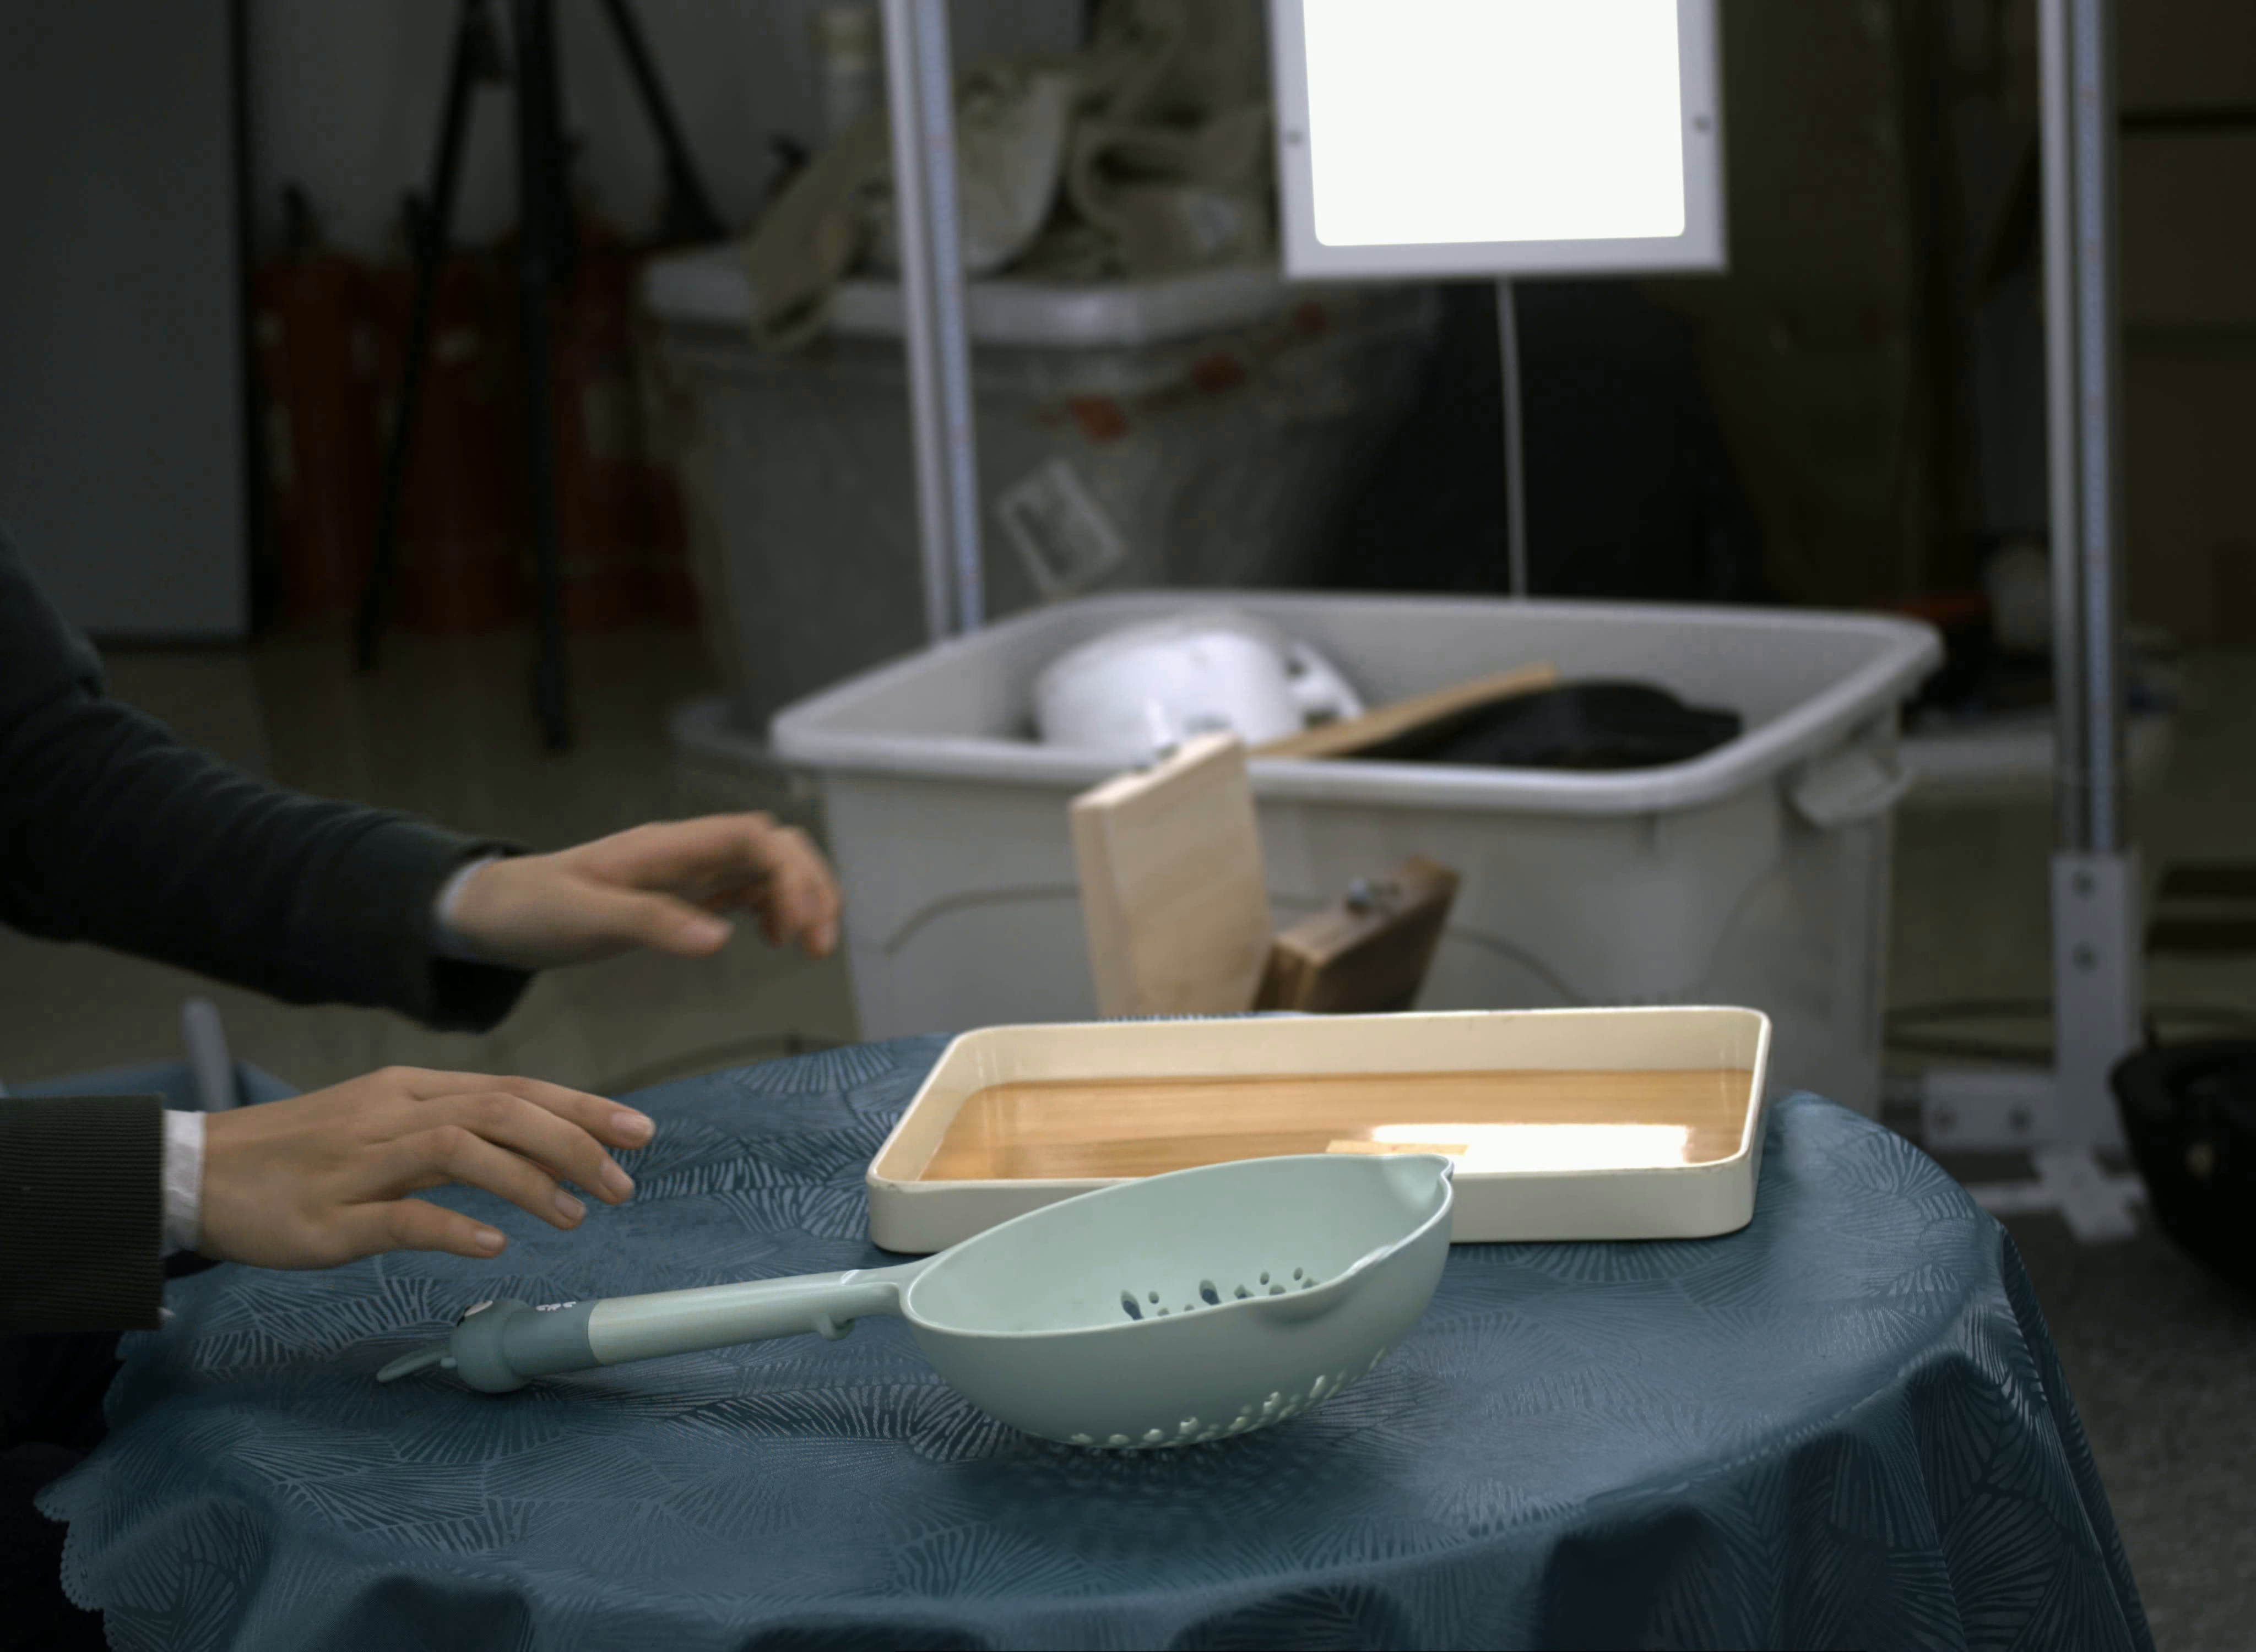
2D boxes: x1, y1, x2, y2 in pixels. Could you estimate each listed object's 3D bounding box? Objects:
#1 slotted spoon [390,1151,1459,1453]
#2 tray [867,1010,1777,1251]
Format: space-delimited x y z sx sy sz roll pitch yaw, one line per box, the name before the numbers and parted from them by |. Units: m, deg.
slotted spoon | -0.071 0.148 1.697 0.364 0.075 0.166 1 14 22
tray | 0.072 0.105 1.906 0.302 0.027 0.189 -2 14 12
